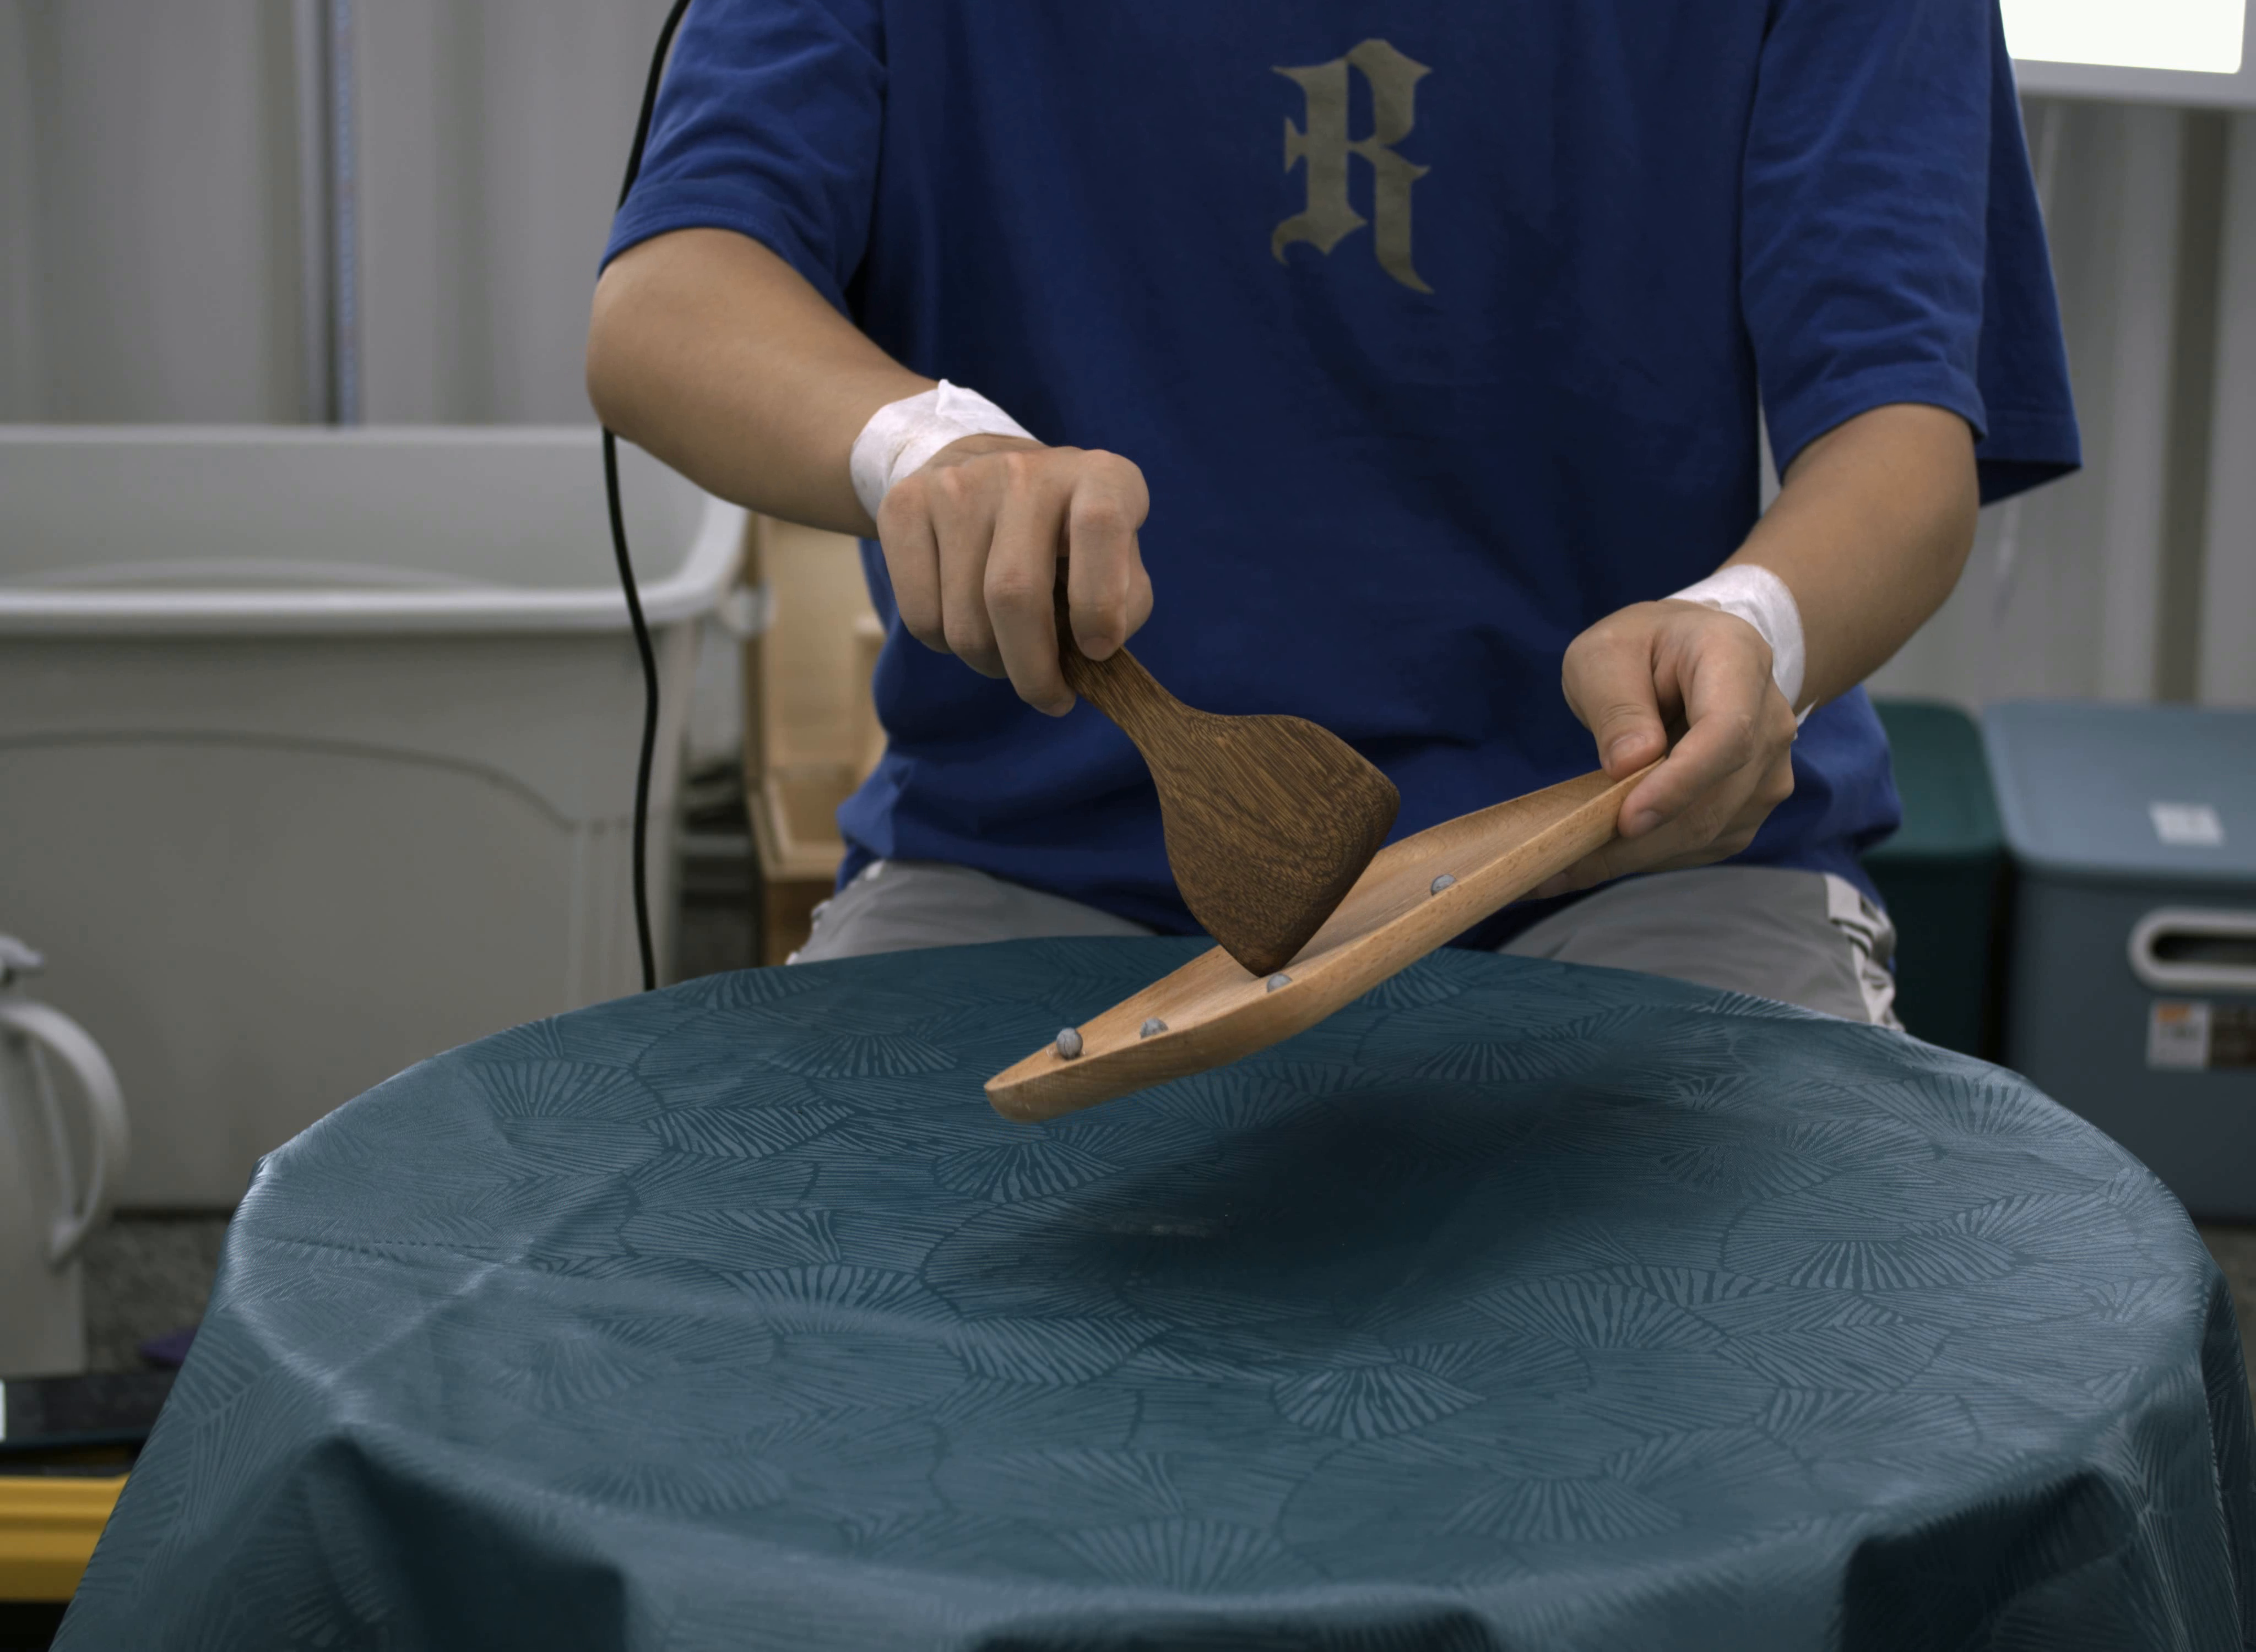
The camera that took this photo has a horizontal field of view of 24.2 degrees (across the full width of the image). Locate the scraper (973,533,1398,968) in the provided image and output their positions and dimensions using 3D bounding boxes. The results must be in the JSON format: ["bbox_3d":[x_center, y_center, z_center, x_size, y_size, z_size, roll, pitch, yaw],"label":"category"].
[{"bbox_3d":[0.008,-0.034,1.649,0.011,0.076,0.208,26,14,-45],"label":"scraper"}]

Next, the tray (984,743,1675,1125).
[{"bbox_3d":[0.066,0.032,1.610,0.129,0.023,0.251,-17,7,41],"label":"tray"}]
